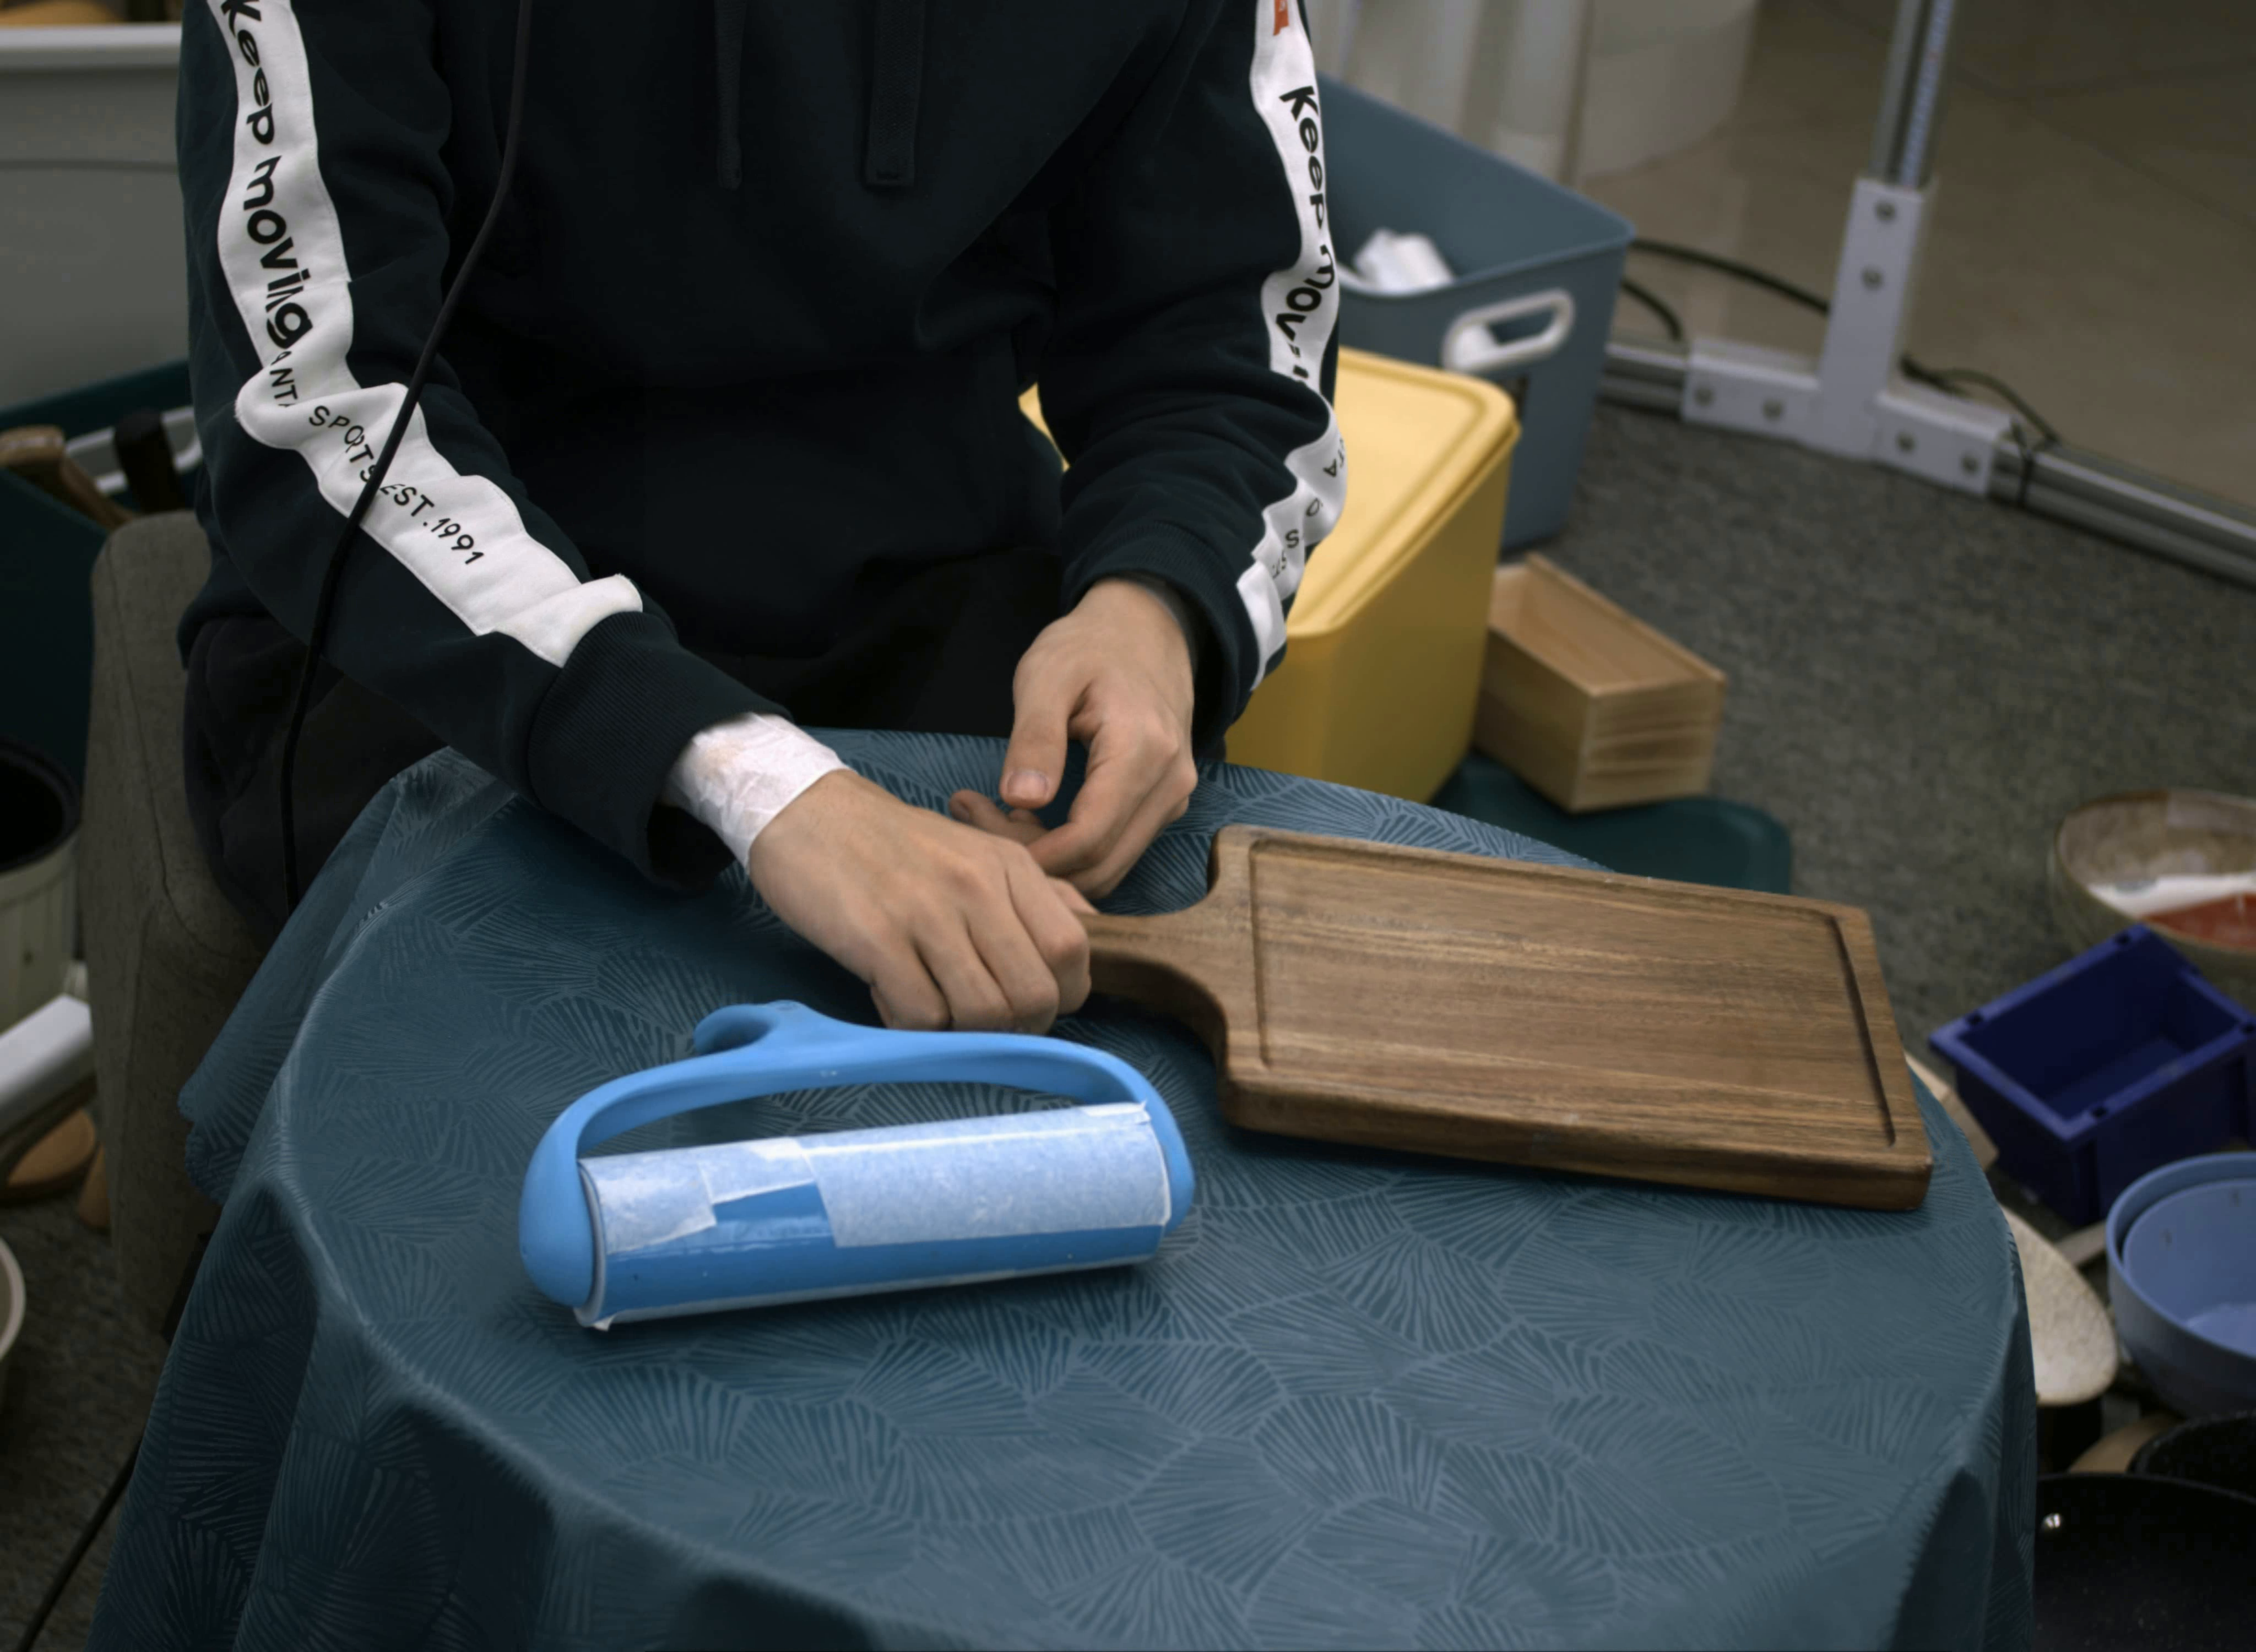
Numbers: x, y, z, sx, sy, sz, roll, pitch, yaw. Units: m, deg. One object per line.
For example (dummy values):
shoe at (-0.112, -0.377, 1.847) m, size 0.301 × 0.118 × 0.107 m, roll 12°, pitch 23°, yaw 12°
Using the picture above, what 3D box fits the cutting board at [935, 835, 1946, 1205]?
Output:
cutting board at (0.106, 0.062, 1.907) m, size 0.351 × 0.023 × 0.202 m, roll 6°, pitch 26°, yaw -5°

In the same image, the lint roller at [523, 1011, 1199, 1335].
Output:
lint roller at (-0.108, 0.097, 1.764) m, size 0.227 × 0.067 × 0.182 m, roll -8°, pitch 31°, yaw -23°
